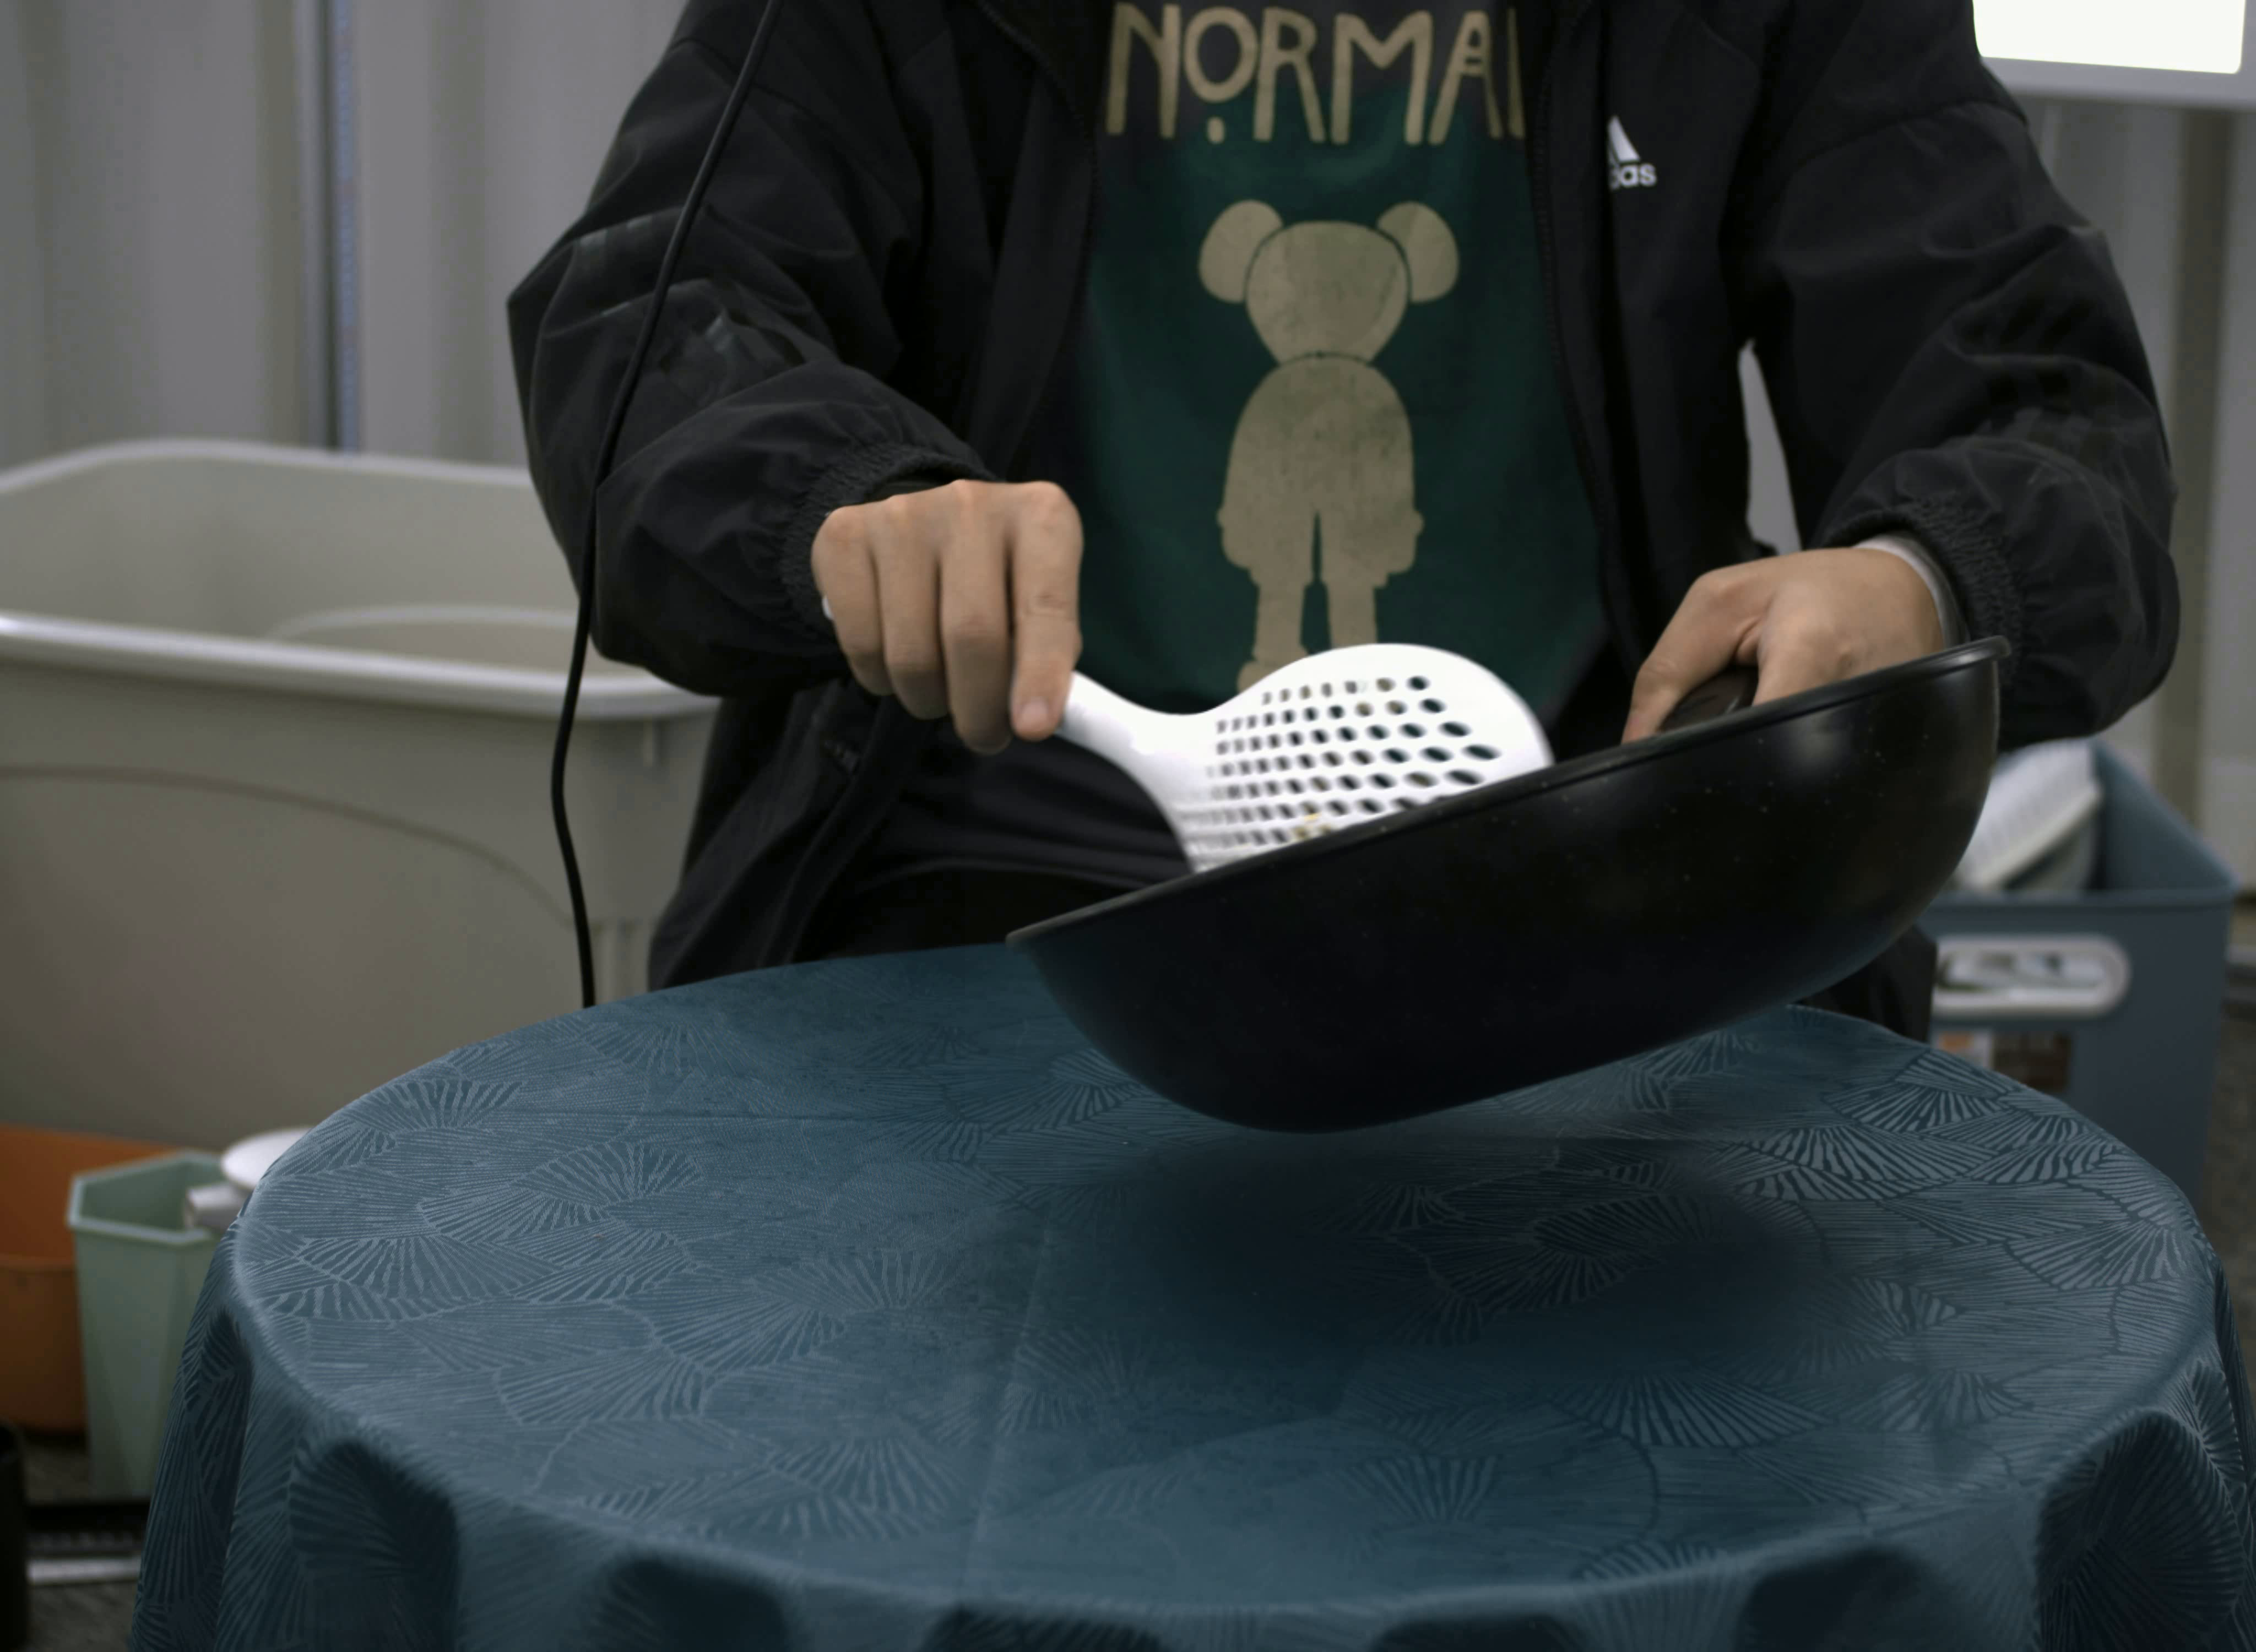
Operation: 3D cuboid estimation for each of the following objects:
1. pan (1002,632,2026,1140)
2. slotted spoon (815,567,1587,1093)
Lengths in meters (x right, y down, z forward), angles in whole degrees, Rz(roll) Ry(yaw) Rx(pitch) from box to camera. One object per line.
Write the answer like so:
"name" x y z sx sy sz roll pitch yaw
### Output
"pan" 0.152 0.011 1.624 0.308 0.112 0.479 -15 0 23
"slotted spoon" 0.014 -0.022 1.657 0.050 0.138 0.343 -3 19 -37
